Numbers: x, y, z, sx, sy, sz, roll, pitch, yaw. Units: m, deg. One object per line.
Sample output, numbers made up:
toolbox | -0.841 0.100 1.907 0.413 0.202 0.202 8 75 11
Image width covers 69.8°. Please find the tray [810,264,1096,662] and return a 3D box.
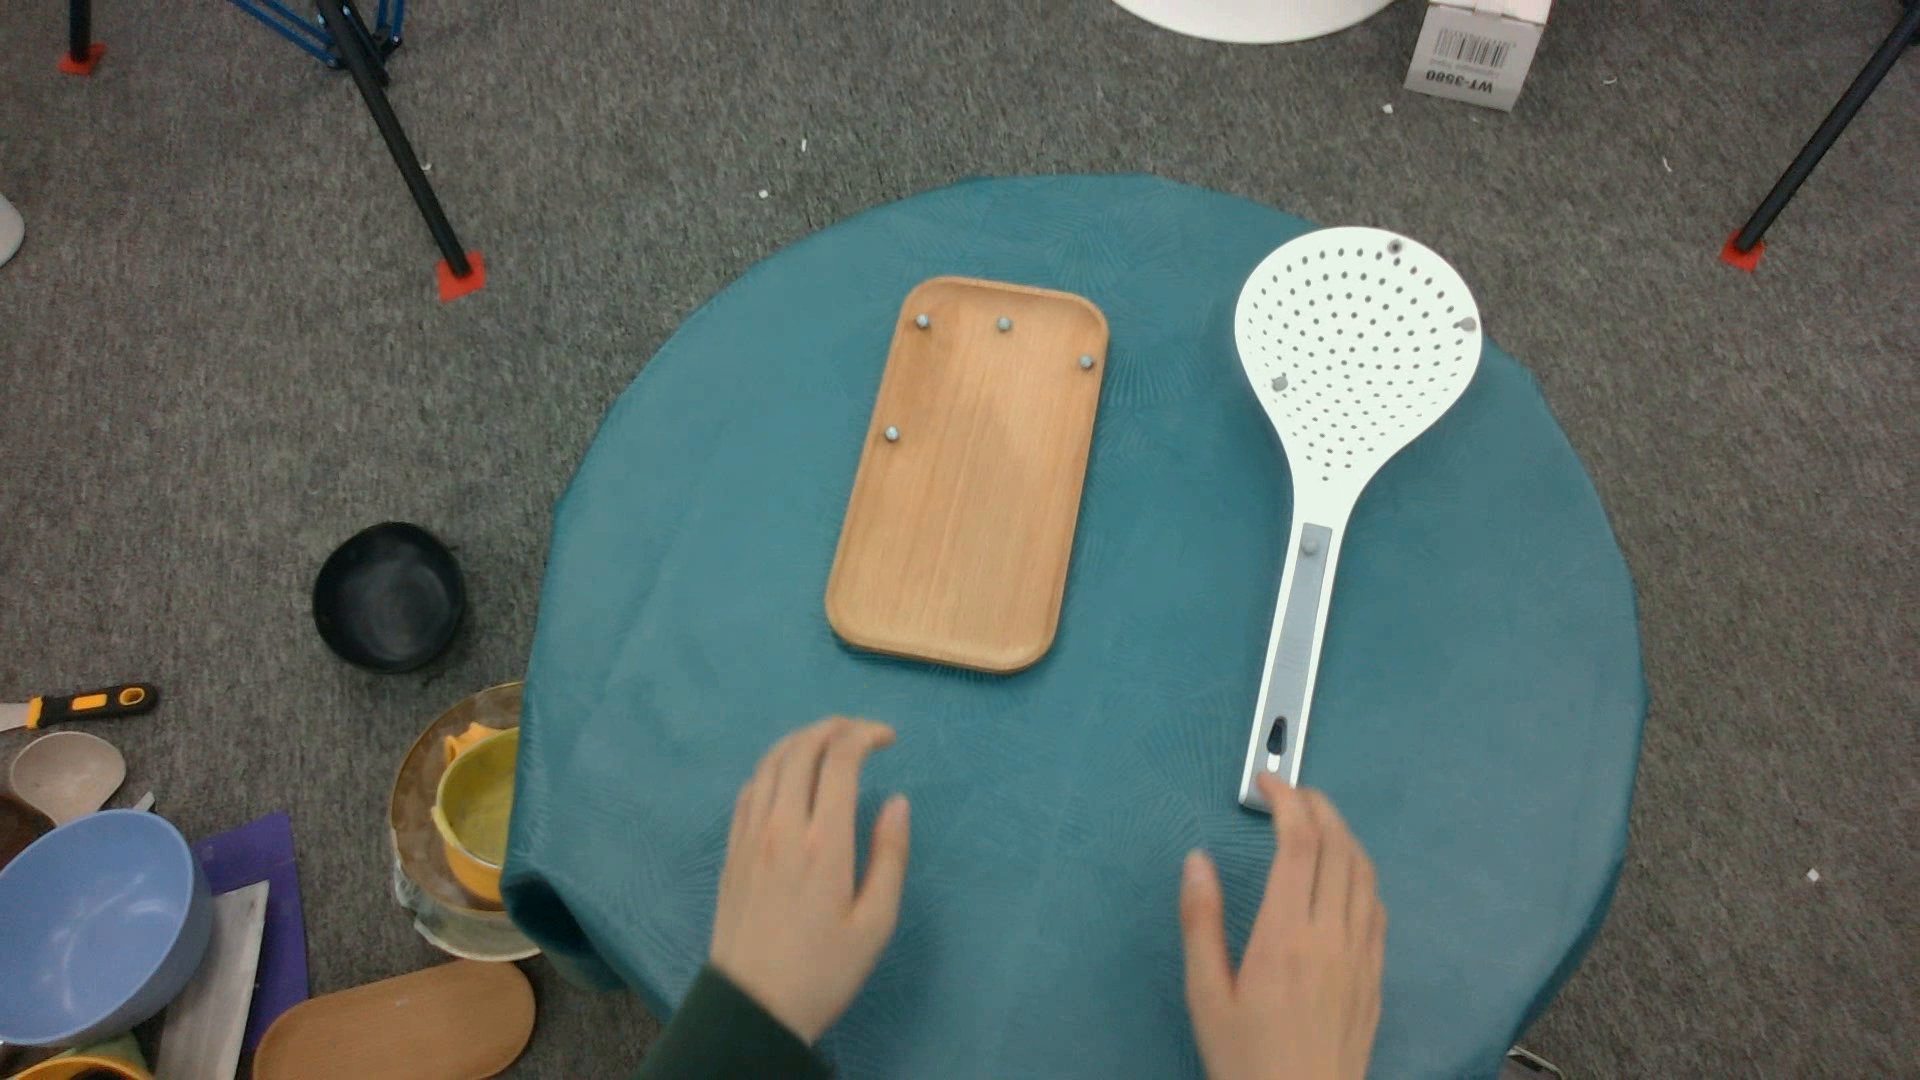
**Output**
tray | 0.001 -0.050 0.786 0.130 0.023 0.252 9 63 7

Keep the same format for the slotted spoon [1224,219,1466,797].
slotted spoon | 0.193 -0.029 0.758 0.136 0.045 0.351 13 64 10
